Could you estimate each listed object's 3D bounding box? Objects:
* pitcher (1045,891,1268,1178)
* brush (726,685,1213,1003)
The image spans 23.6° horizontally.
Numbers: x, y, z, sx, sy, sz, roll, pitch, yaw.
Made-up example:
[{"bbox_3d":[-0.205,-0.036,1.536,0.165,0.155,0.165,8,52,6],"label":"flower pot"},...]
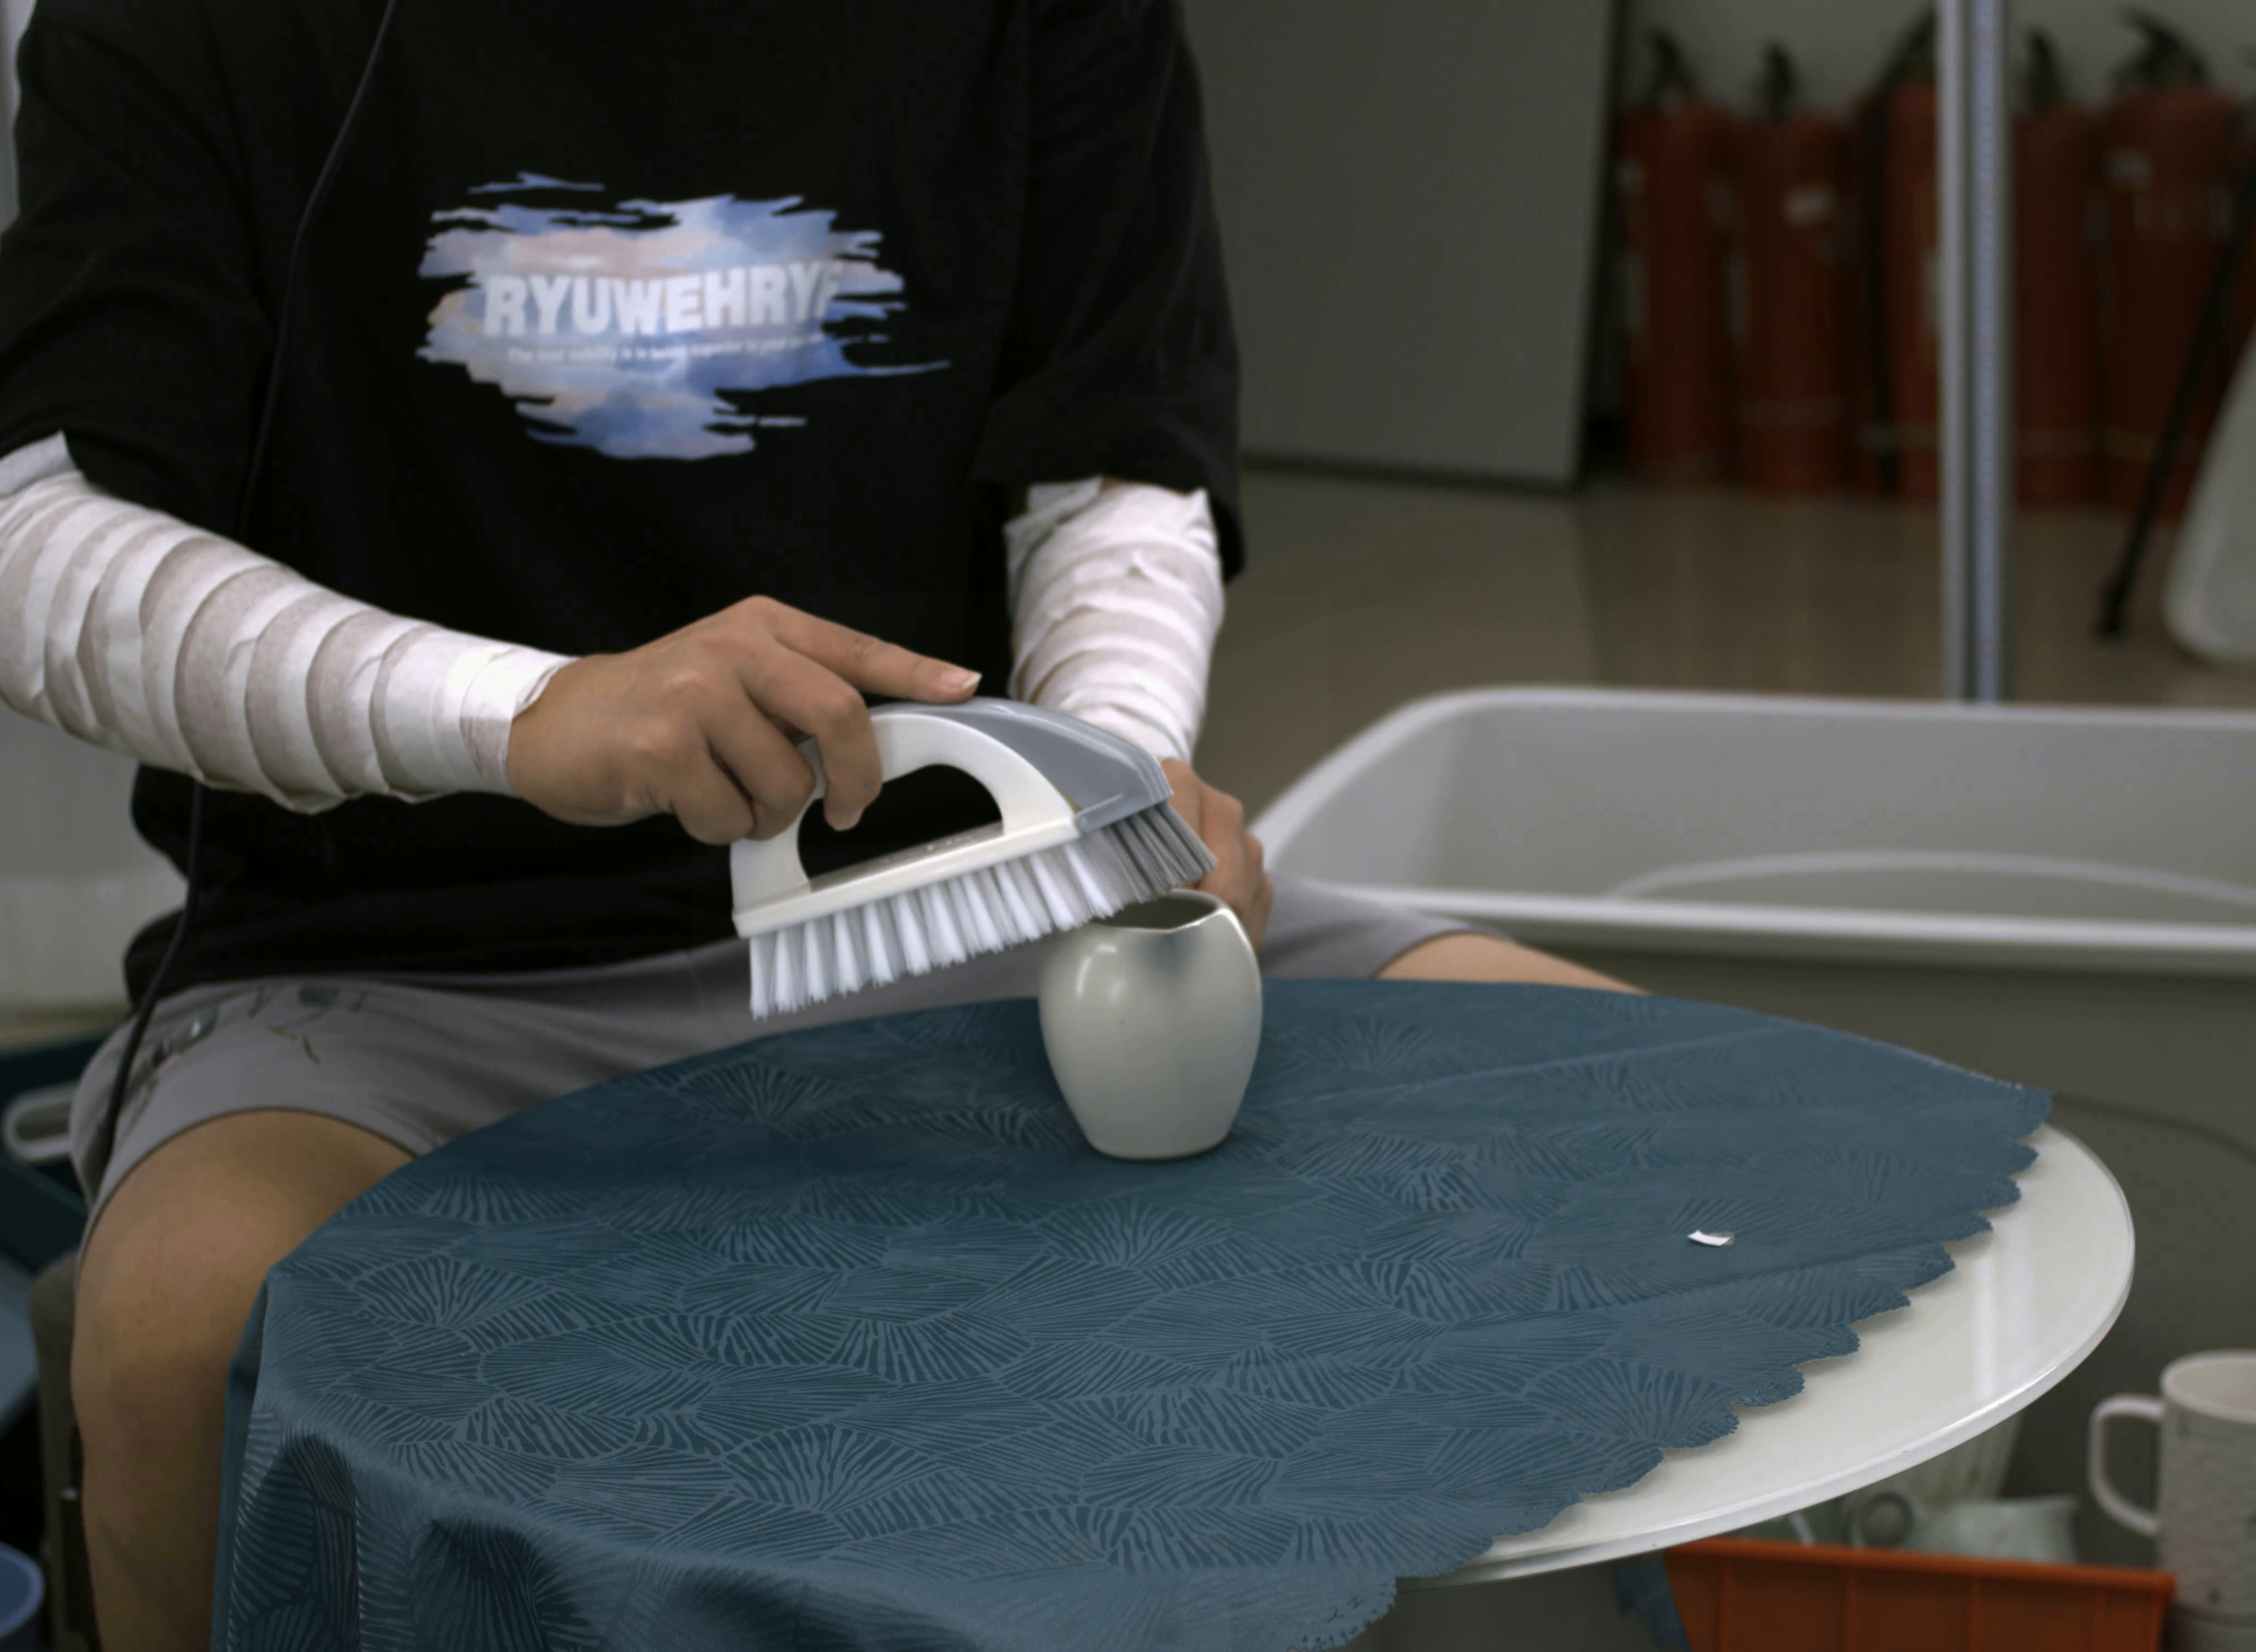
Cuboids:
[{"bbox_3d":[0.009,0.067,1.811,0.074,0.089,0.119,-1,14,-5],"label":"pitcher"},{"bbox_3d":[-0.059,-0.004,1.809,0.176,0.095,0.061,-14,12,31],"label":"brush"}]
